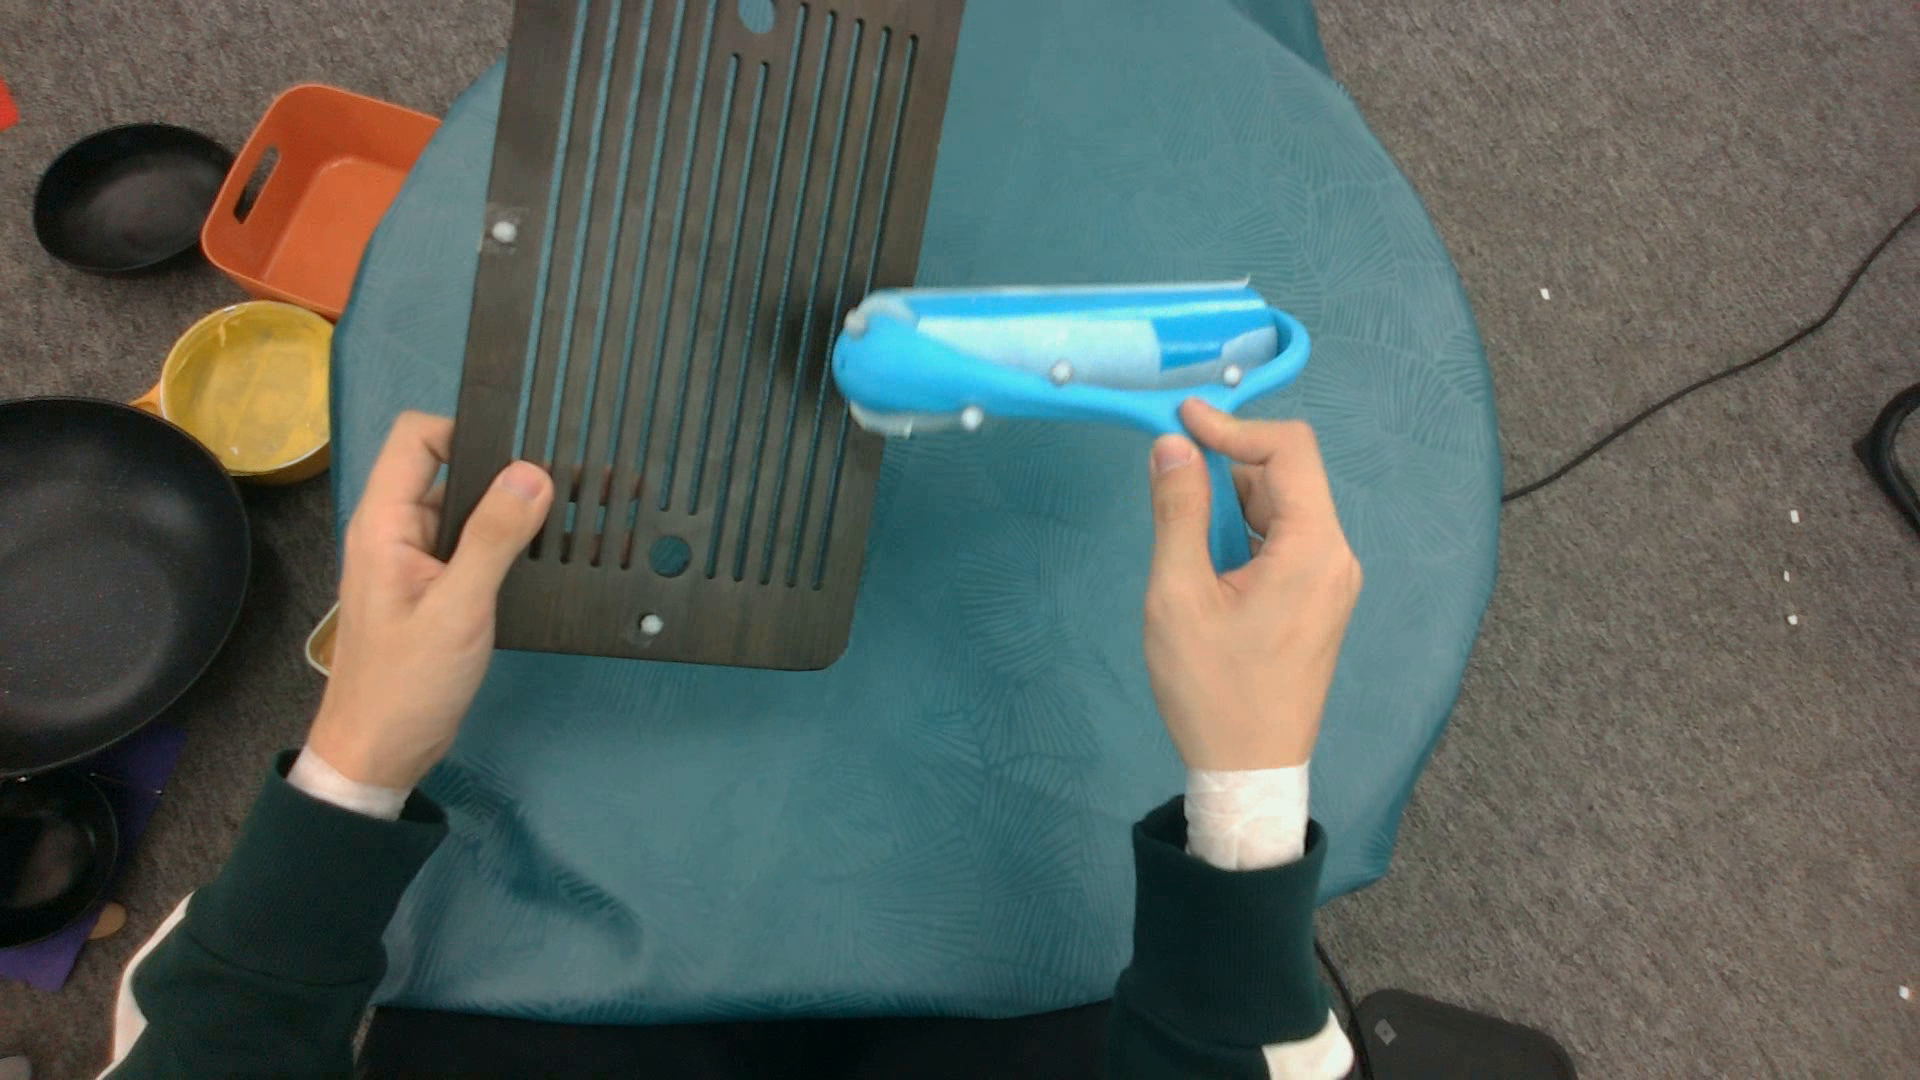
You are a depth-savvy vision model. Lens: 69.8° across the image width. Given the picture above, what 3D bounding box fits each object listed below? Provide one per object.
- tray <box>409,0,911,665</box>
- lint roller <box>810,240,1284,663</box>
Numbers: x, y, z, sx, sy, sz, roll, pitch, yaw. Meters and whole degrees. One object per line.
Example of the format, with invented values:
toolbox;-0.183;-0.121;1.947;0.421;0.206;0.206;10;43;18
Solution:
tray;-0.117;-0.102;0.550;0.170;0.018;0.305;5;98;-25
lint roller;0.068;-0.044;0.538;0.230;0.067;0.180;-13;65;-41
